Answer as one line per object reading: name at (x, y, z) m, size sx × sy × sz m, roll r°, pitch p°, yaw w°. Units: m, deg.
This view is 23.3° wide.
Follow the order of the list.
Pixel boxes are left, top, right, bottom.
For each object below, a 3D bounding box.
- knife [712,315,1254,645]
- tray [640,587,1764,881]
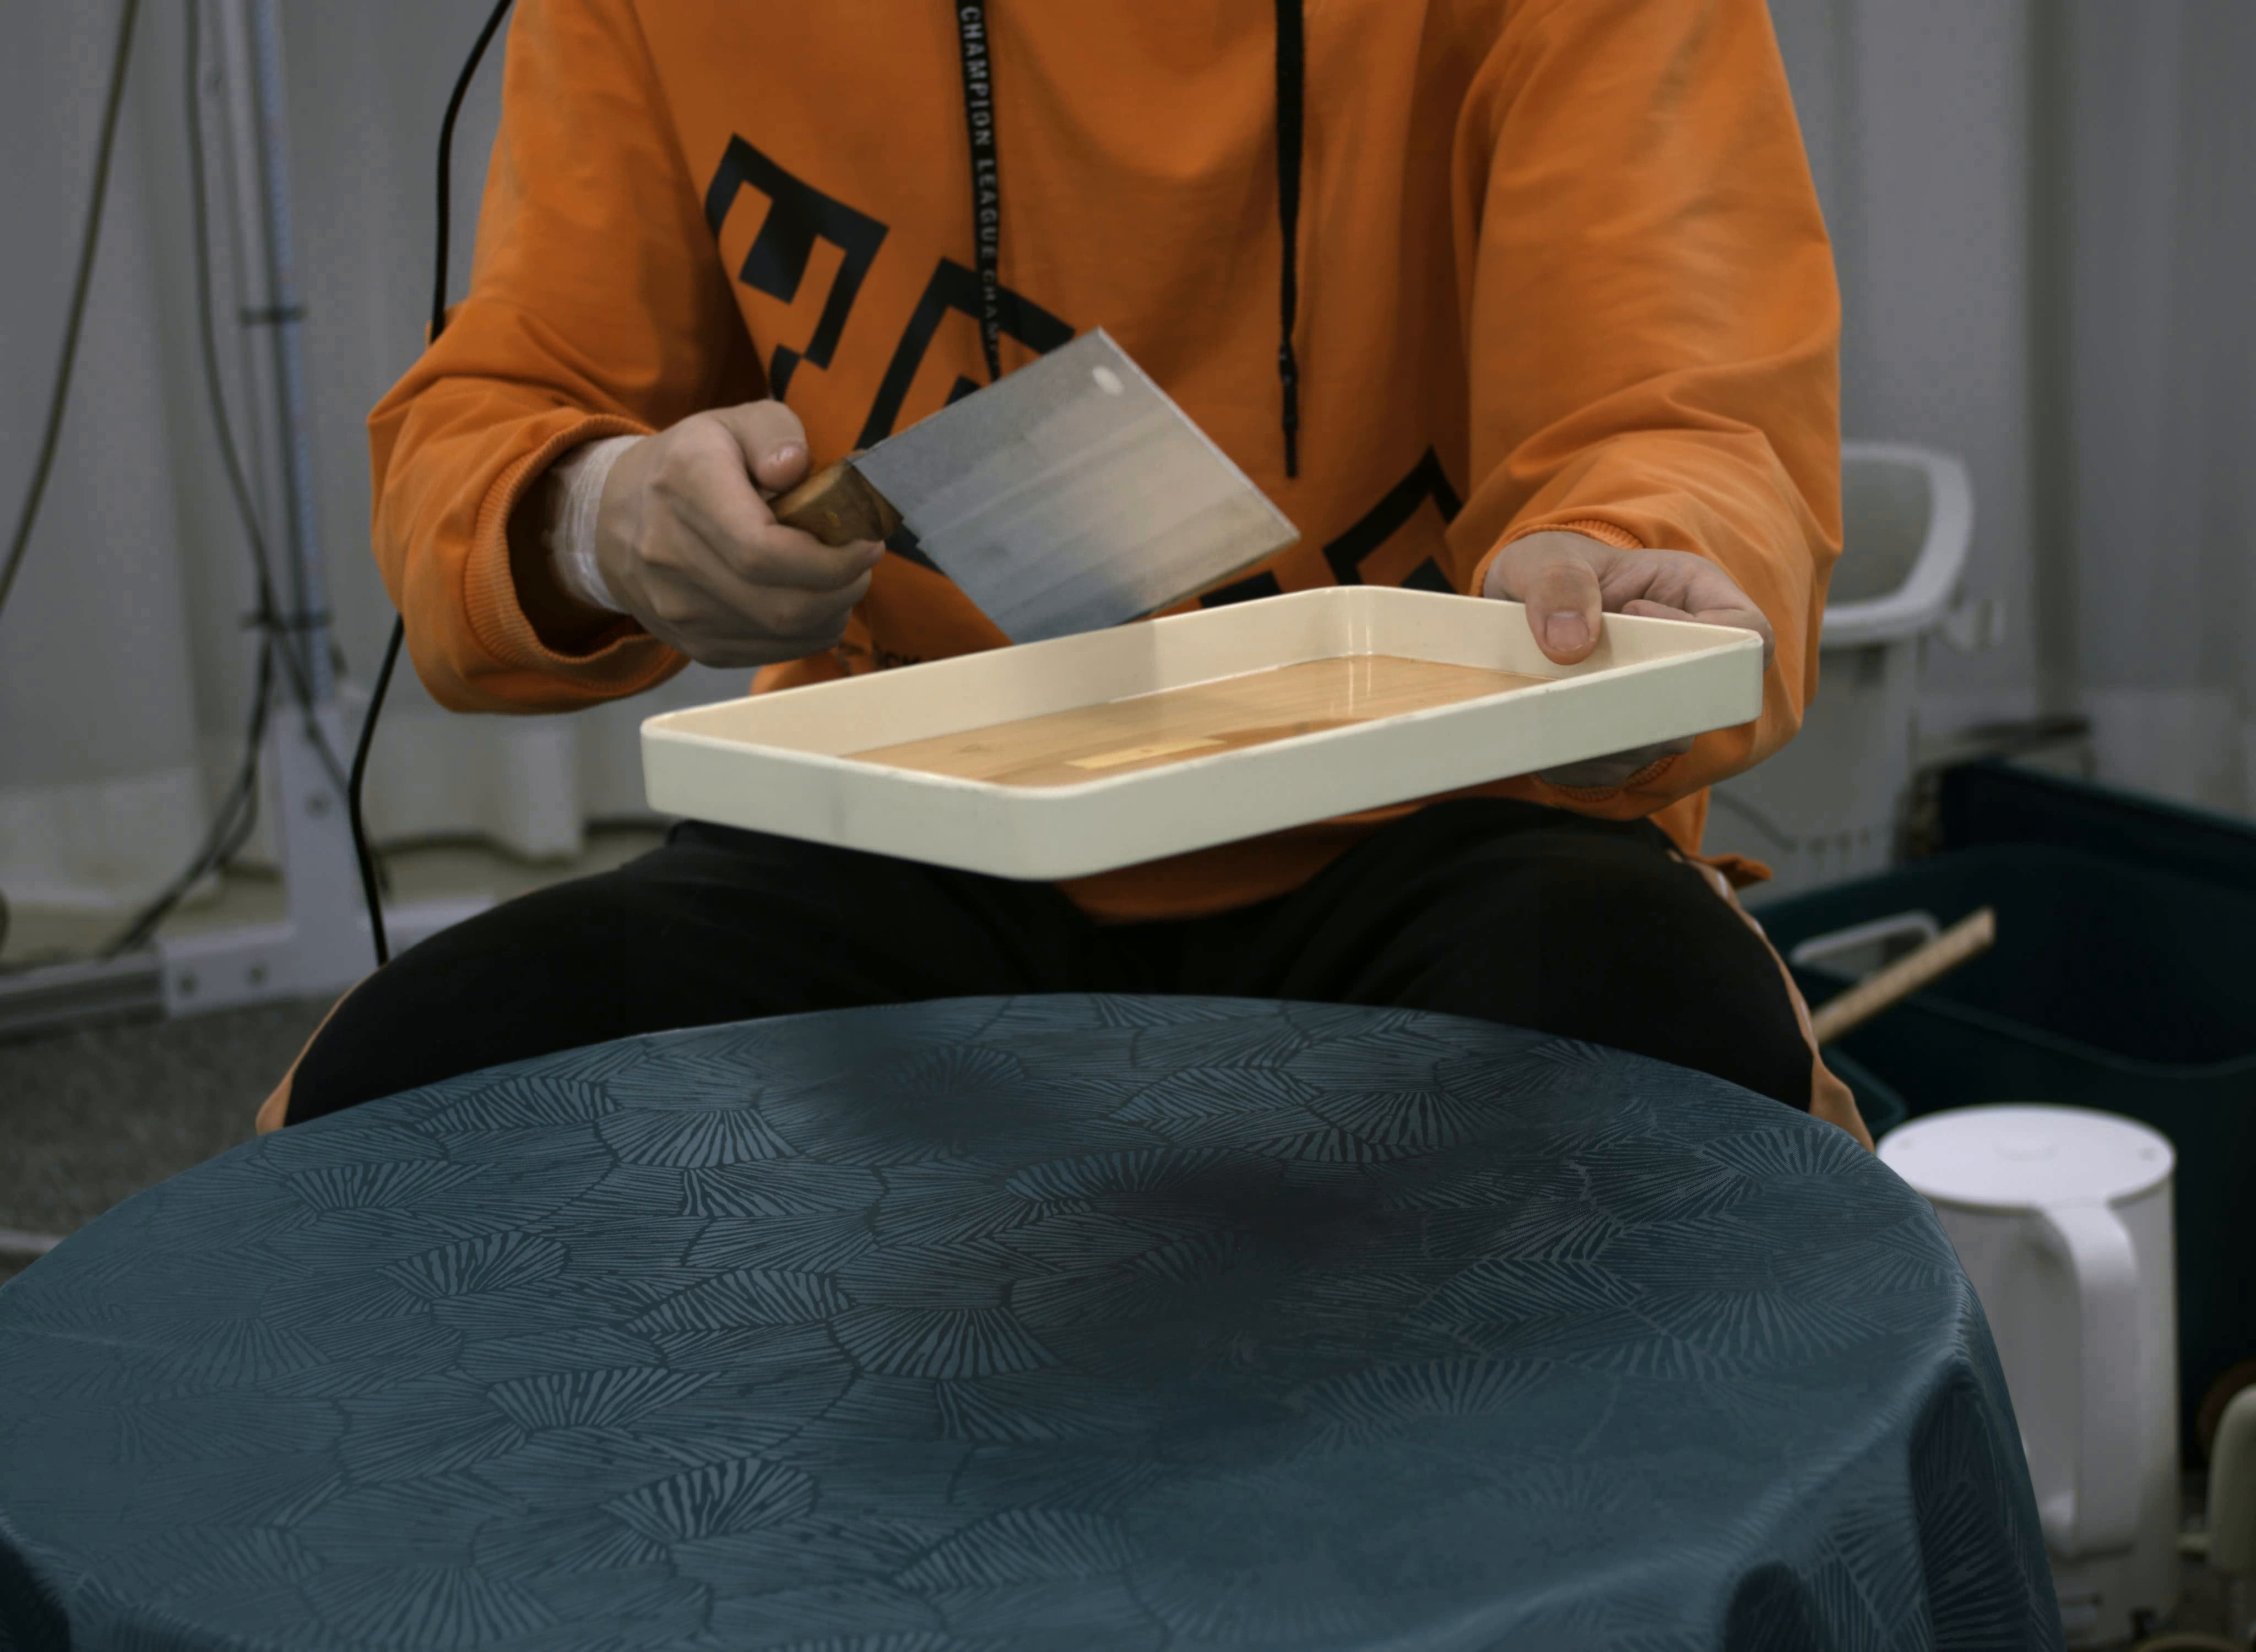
knife at (-0.047, -0.096, 1.752) m, size 0.021 × 0.092 × 0.305 m, roll -51°, pitch 14°, yaw -25°
tray at (0.025, -0.031, 1.612) m, size 0.299 × 0.027 × 0.192 m, roll -13°, pitch 15°, yaw -40°
